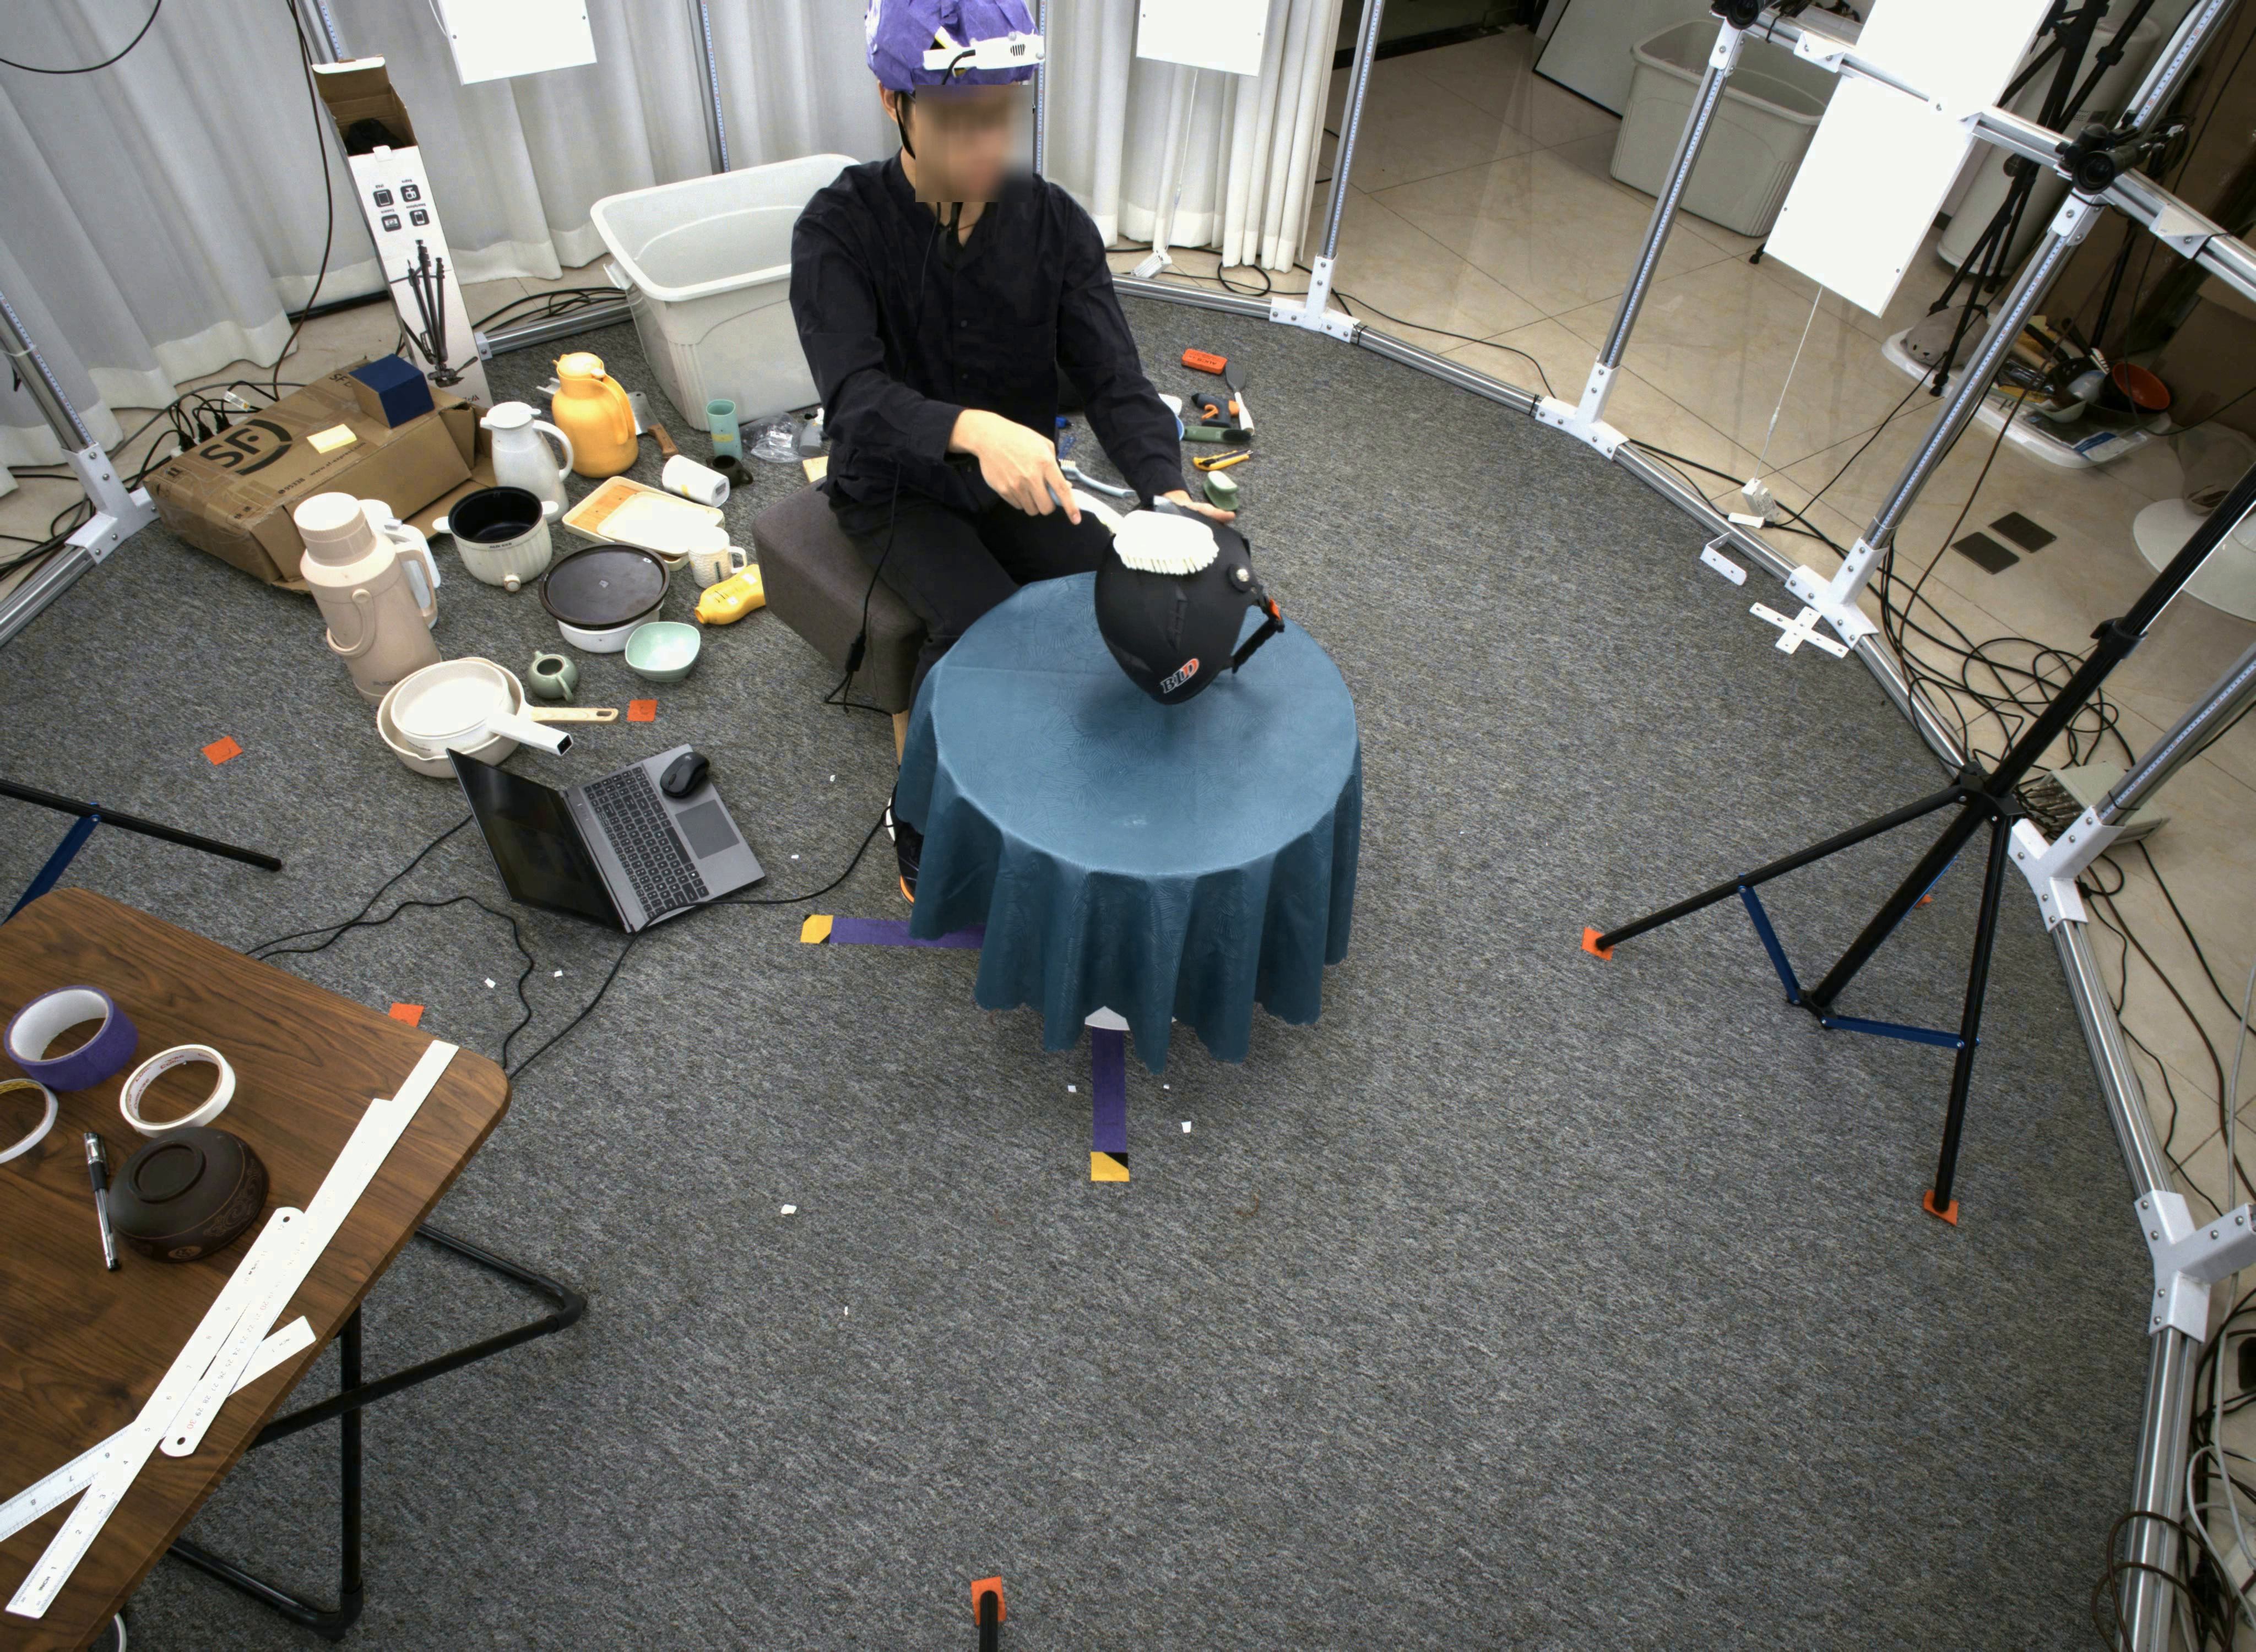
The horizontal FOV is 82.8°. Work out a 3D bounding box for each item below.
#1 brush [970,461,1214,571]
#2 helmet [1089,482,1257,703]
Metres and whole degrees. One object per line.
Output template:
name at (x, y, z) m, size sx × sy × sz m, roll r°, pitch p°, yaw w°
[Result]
brush at (-0.045, -0.390, 1.634) m, size 0.327 × 0.083 × 0.084 m, roll 18°, pitch 28°, yaw 14°
helmet at (0.043, -0.315, 1.709) m, size 0.170 × 0.244 × 0.283 m, roll 22°, pitch 51°, yaw -32°
